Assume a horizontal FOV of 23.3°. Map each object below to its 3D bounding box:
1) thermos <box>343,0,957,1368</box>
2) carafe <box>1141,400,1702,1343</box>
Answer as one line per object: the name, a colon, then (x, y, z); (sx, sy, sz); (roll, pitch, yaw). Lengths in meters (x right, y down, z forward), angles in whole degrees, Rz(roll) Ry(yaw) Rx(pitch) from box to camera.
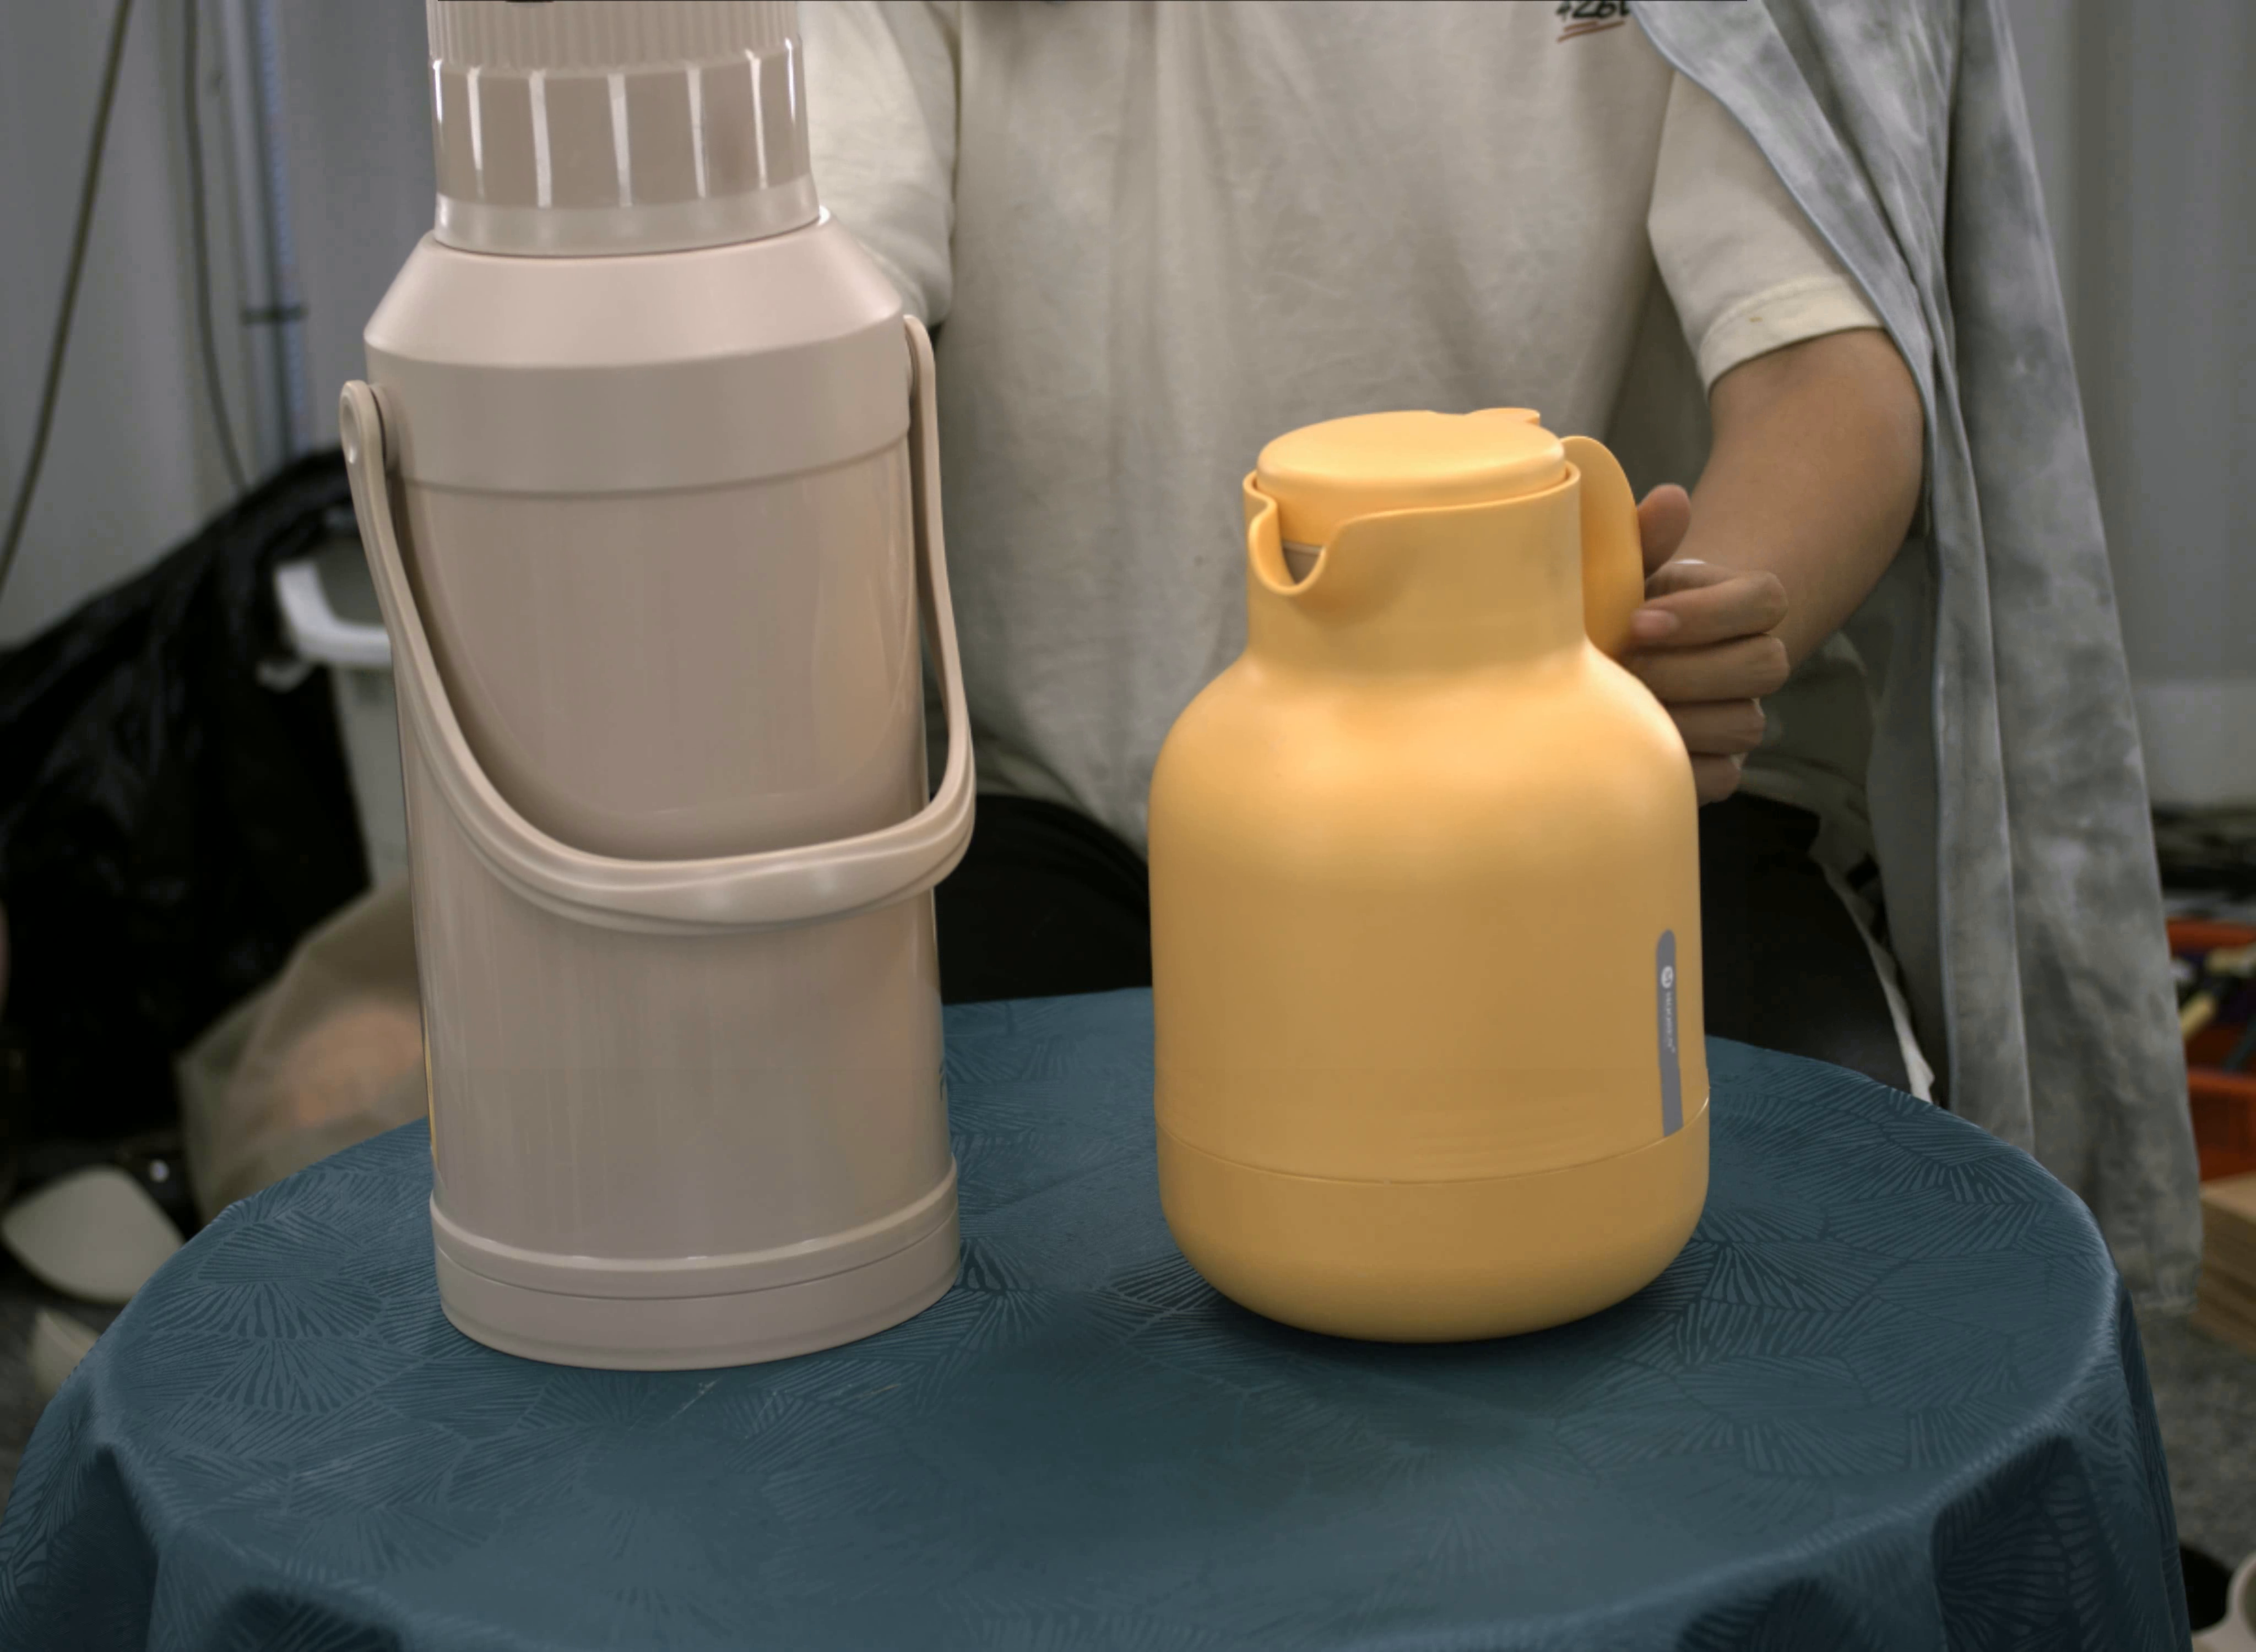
thermos: (-0.143, -0.057, 1.626); (0.174, 0.404, 0.209); (-9, 16, -22)
carafe: (0.096, 0.005, 1.609); (0.164, 0.259, 0.202); (9, 19, 33)
